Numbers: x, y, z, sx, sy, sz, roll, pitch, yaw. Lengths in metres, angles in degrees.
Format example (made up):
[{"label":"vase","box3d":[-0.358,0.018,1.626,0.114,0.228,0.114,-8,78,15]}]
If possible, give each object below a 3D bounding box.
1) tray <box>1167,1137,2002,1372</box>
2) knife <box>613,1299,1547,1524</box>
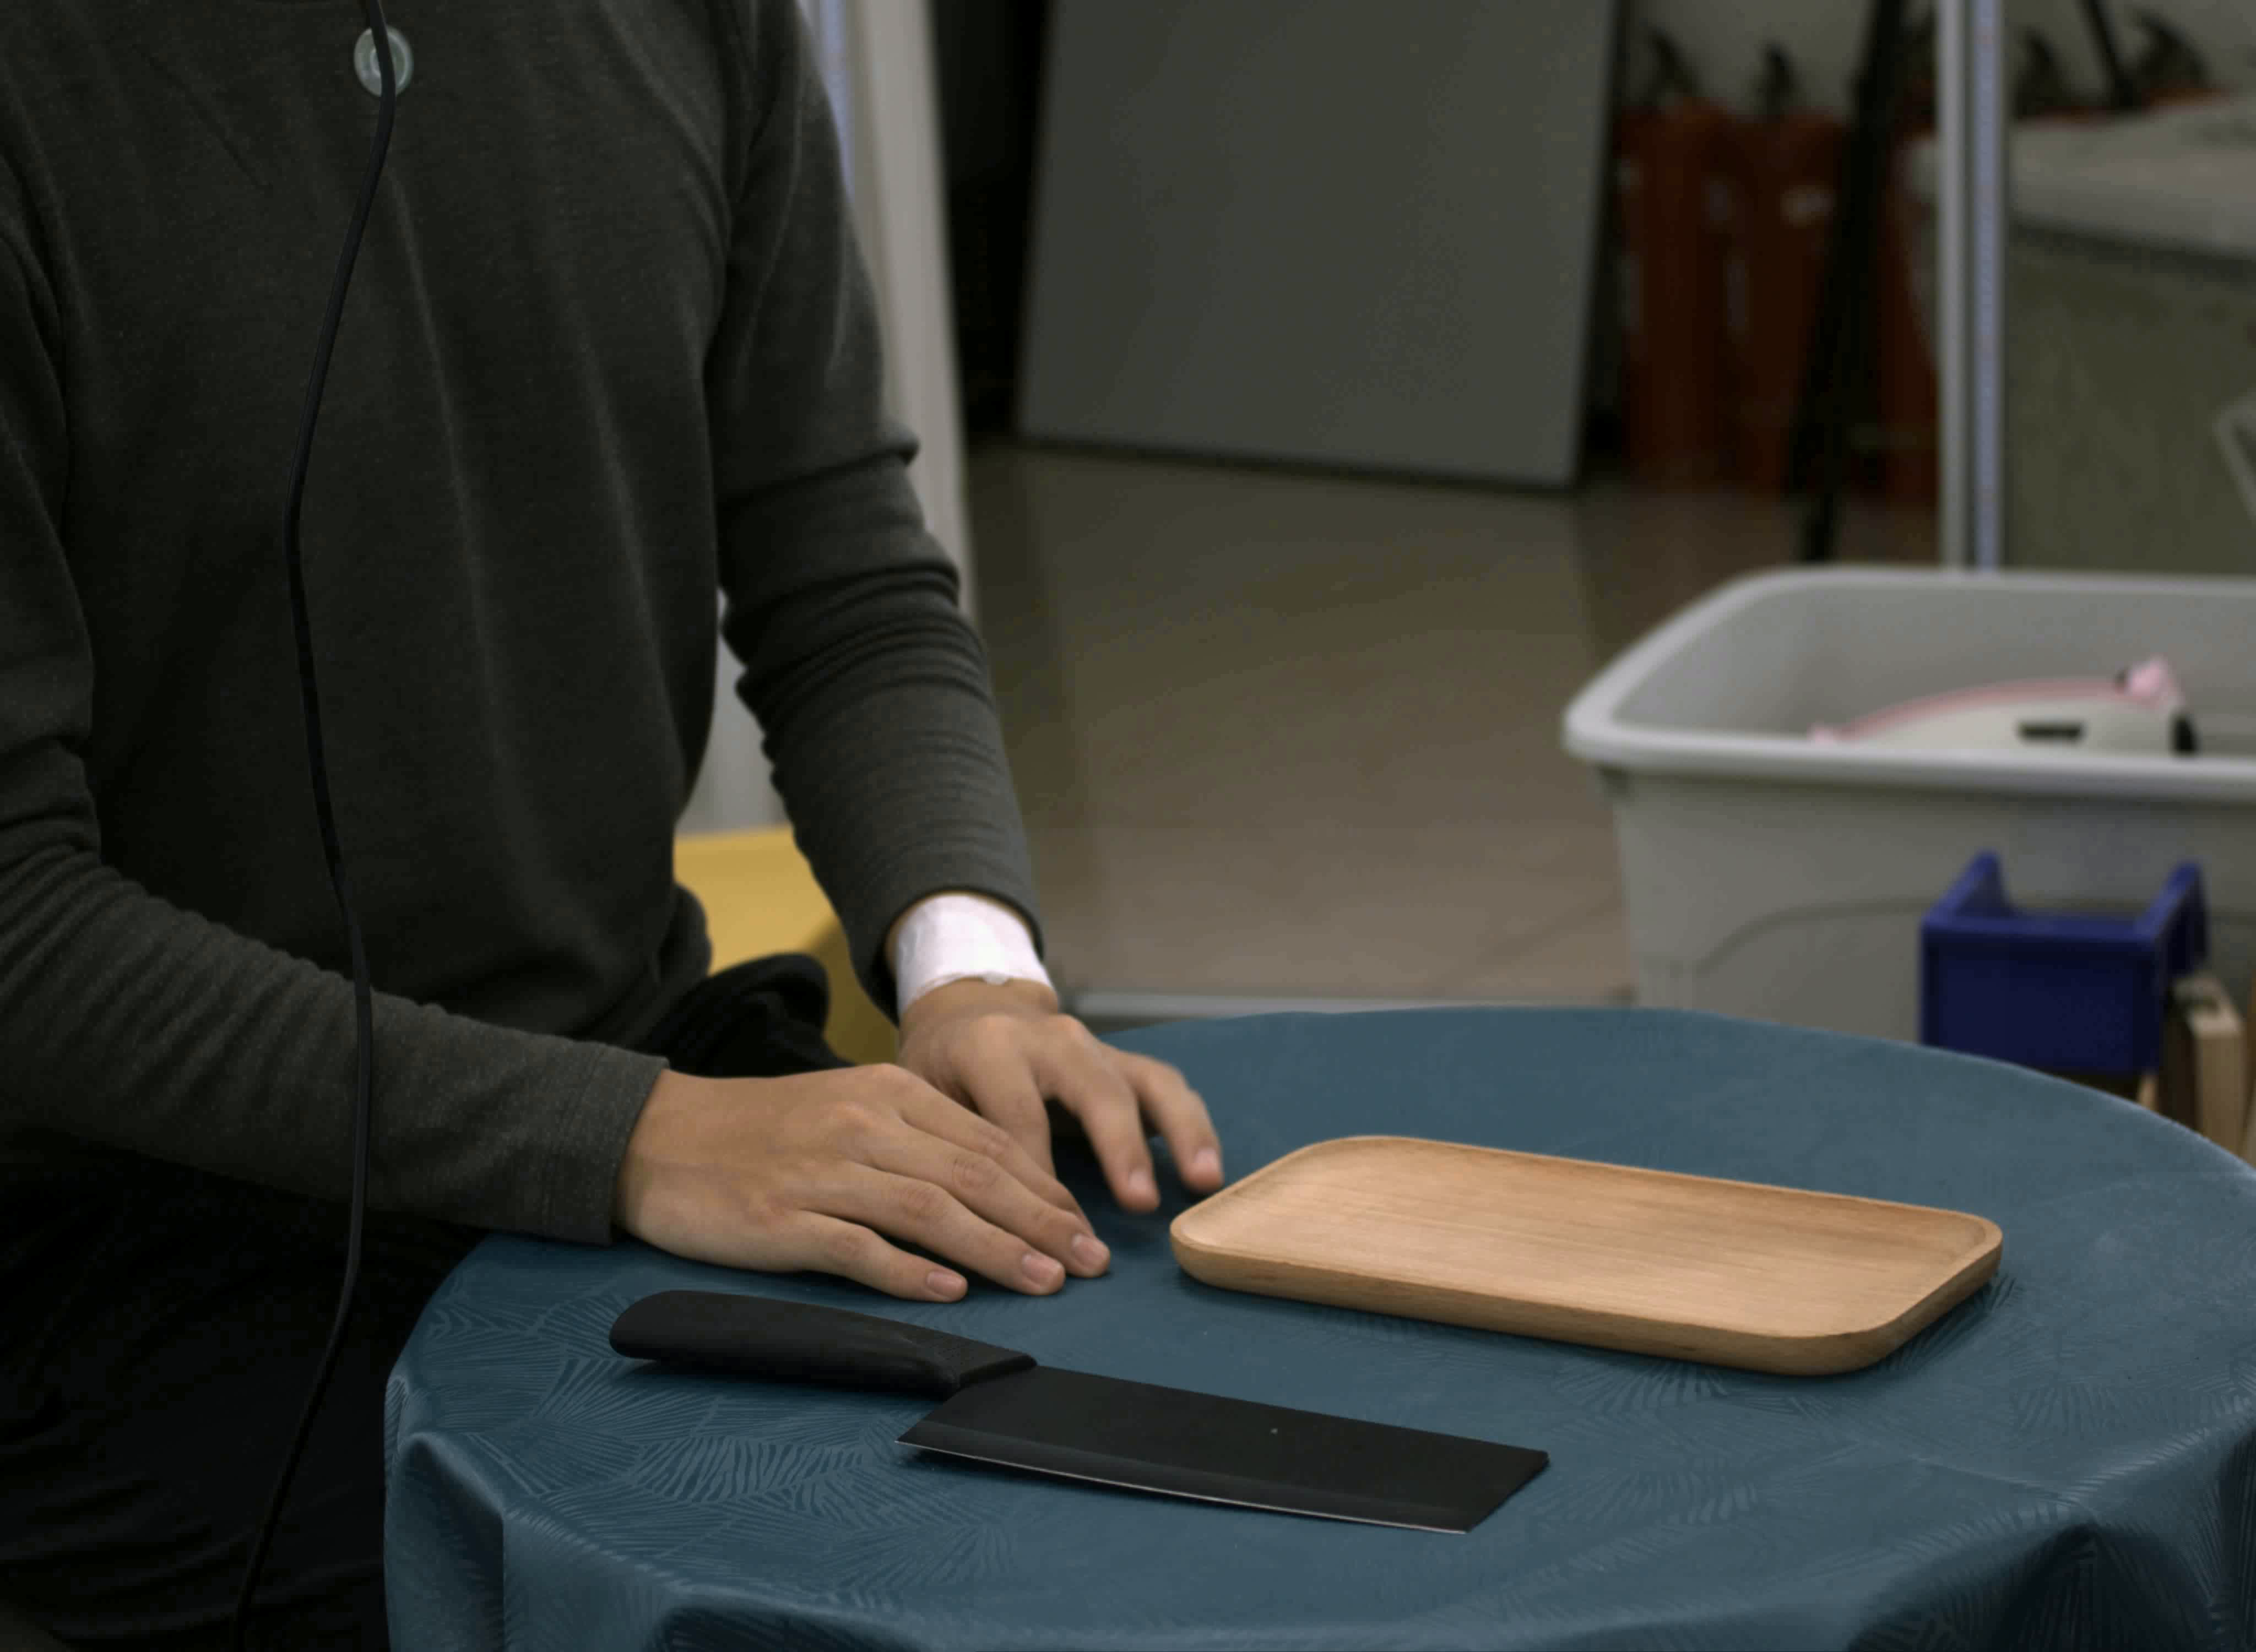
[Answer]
[{"label":"tray","box3d":[0.139,0.131,1.660,0.252,0.023,0.128,4,13,35]},{"label":"knife","box3d":[-0.023,0.169,1.556,0.304,0.021,0.079,7,18,33]}]
